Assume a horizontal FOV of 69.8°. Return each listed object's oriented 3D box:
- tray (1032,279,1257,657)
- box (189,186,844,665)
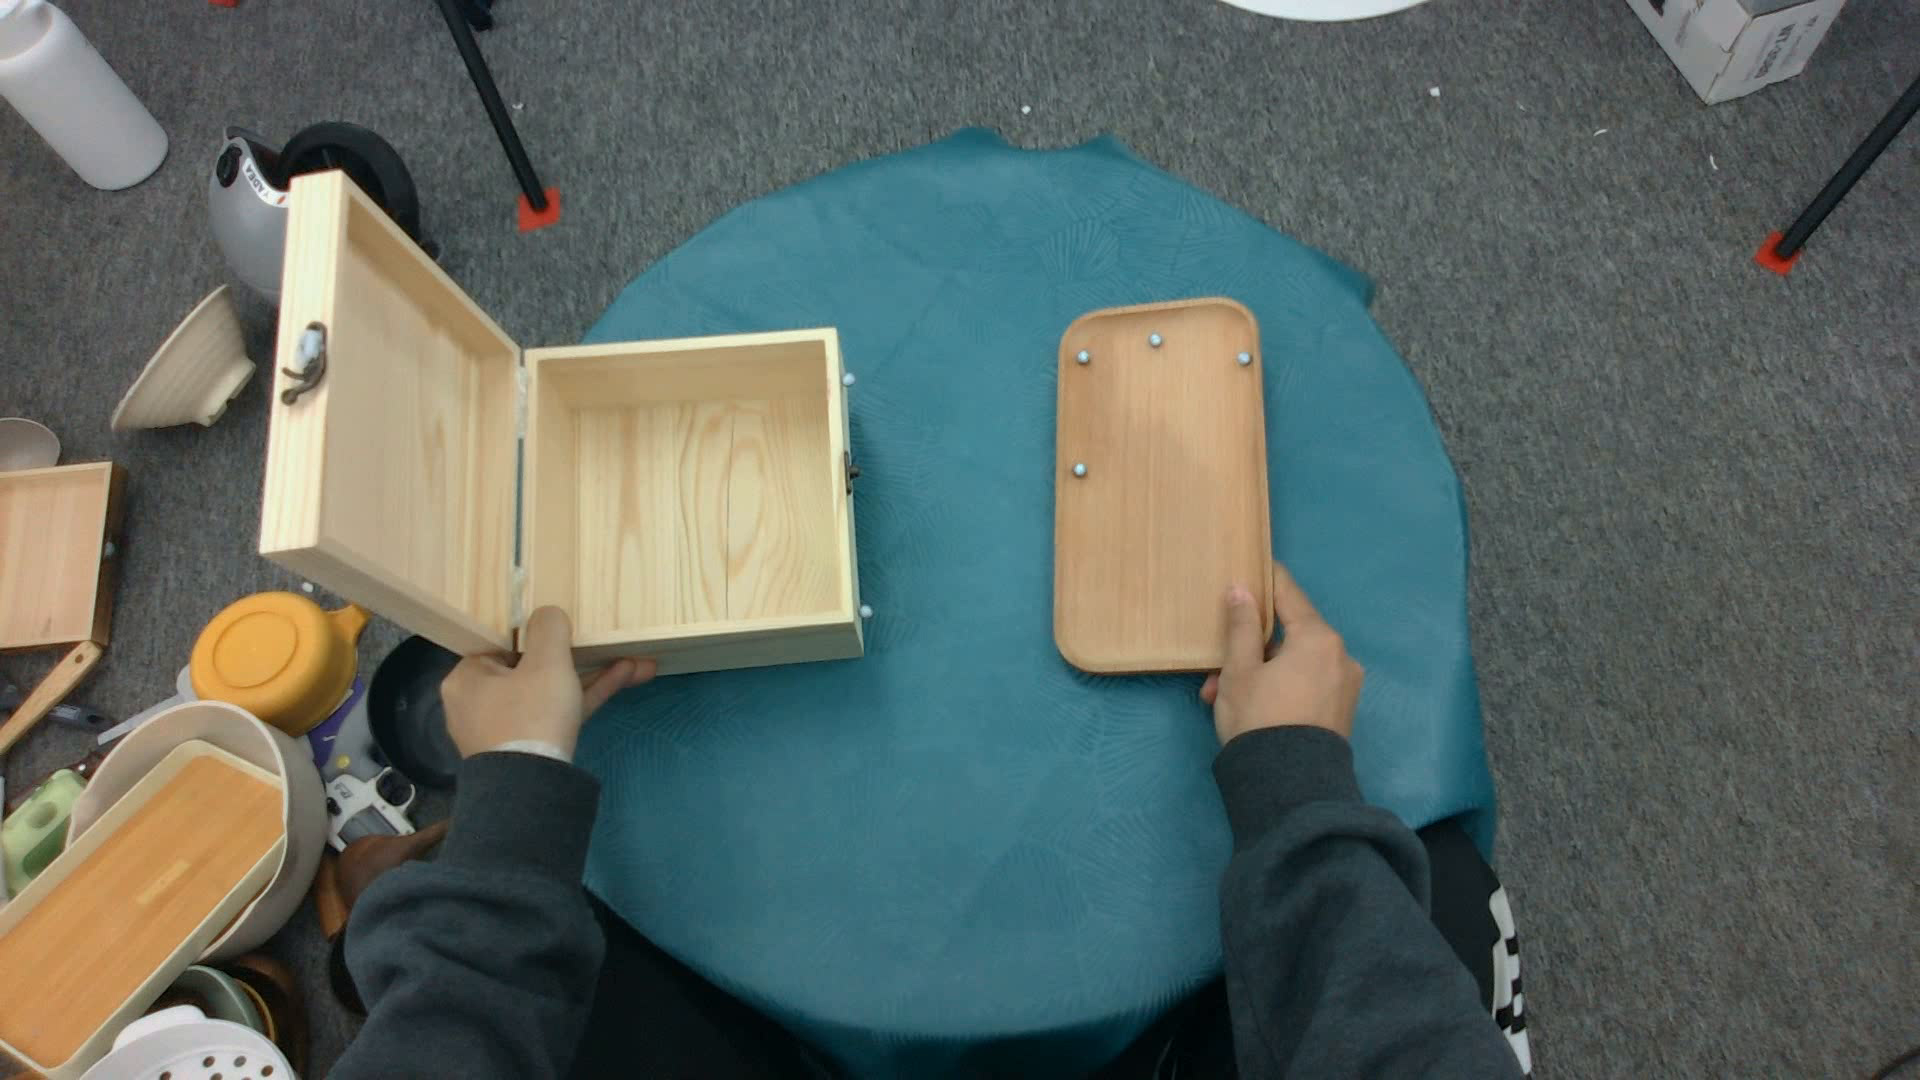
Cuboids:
[{"bbox_3d":[0.109,-0.048,0.832,0.130,0.023,0.251,-5,64,15],"label":"tray"},{"bbox_3d":[-0.202,-0.052,0.721,0.265,0.252,0.182,-6,74,-2],"label":"box"}]
